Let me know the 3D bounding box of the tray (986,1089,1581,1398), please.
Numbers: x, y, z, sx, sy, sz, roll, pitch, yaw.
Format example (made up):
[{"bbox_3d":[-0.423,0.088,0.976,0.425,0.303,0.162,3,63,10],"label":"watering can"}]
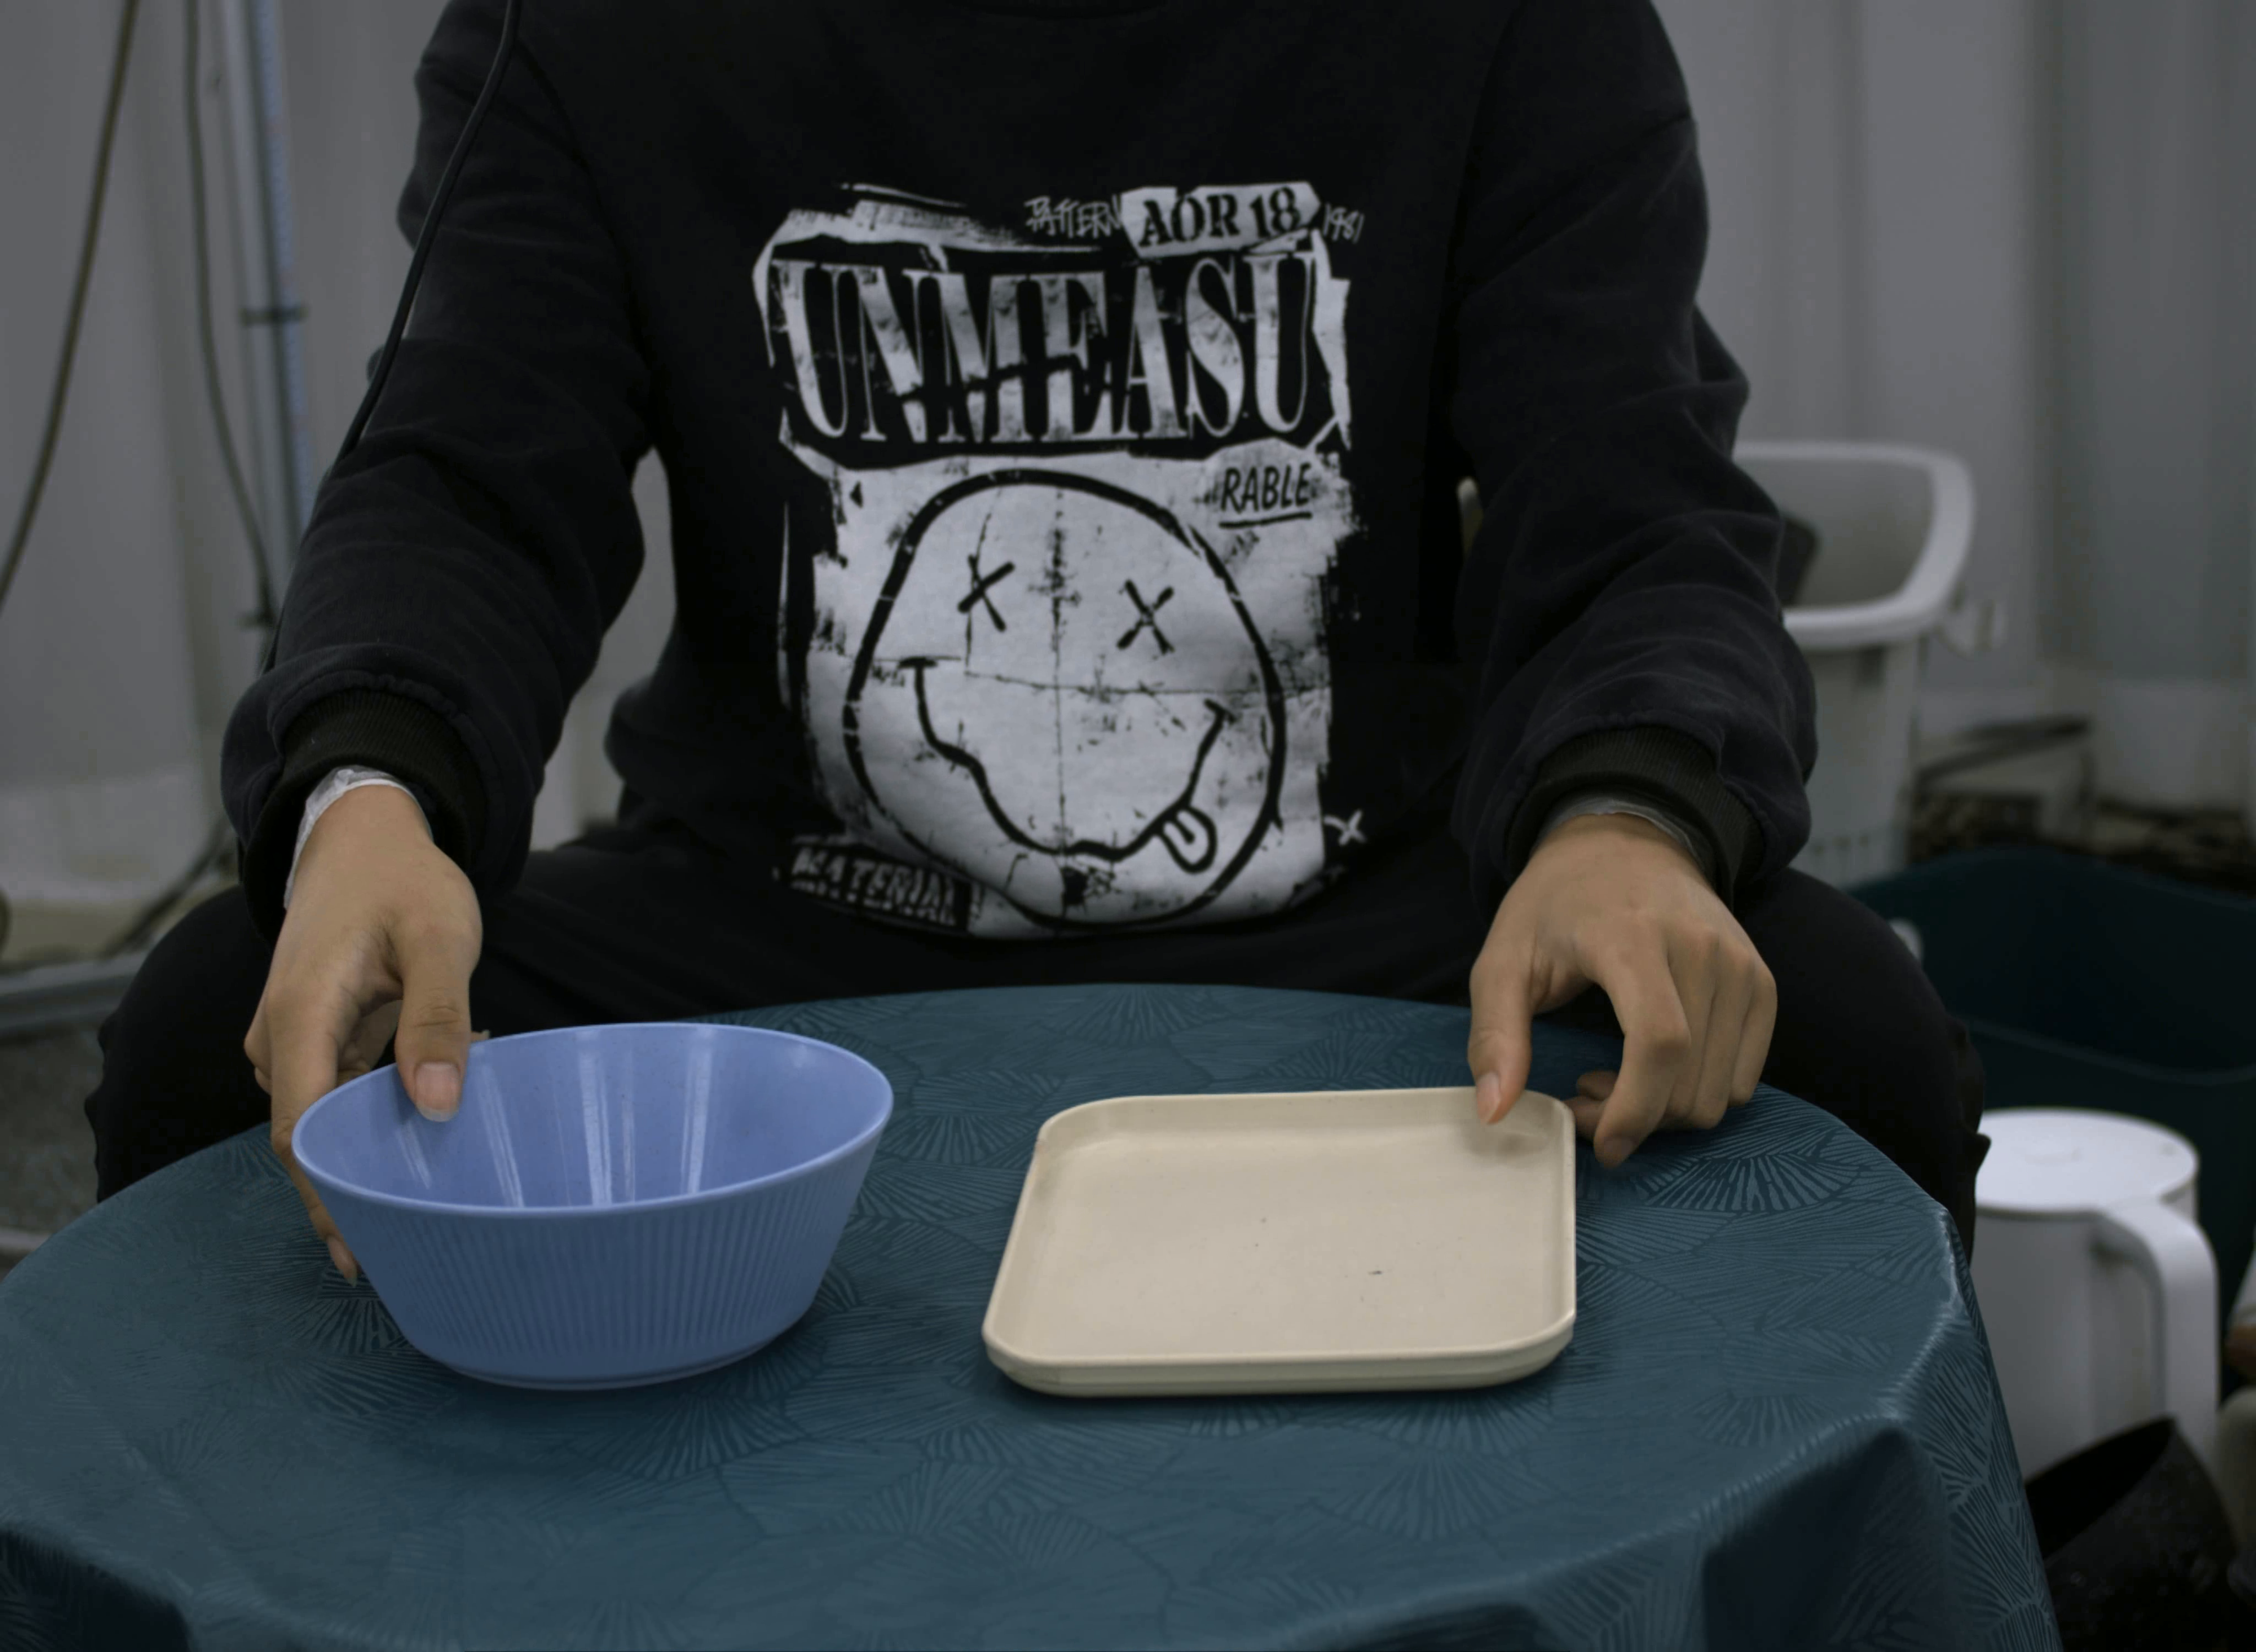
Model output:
[{"bbox_3d":[0.050,0.124,1.636,0.171,0.017,0.241,-1,15,5],"label":"tray"}]

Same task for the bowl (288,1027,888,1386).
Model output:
[{"bbox_3d":[-0.157,0.114,1.609,0.175,0.070,0.177,-2,15,0],"label":"bowl"}]
